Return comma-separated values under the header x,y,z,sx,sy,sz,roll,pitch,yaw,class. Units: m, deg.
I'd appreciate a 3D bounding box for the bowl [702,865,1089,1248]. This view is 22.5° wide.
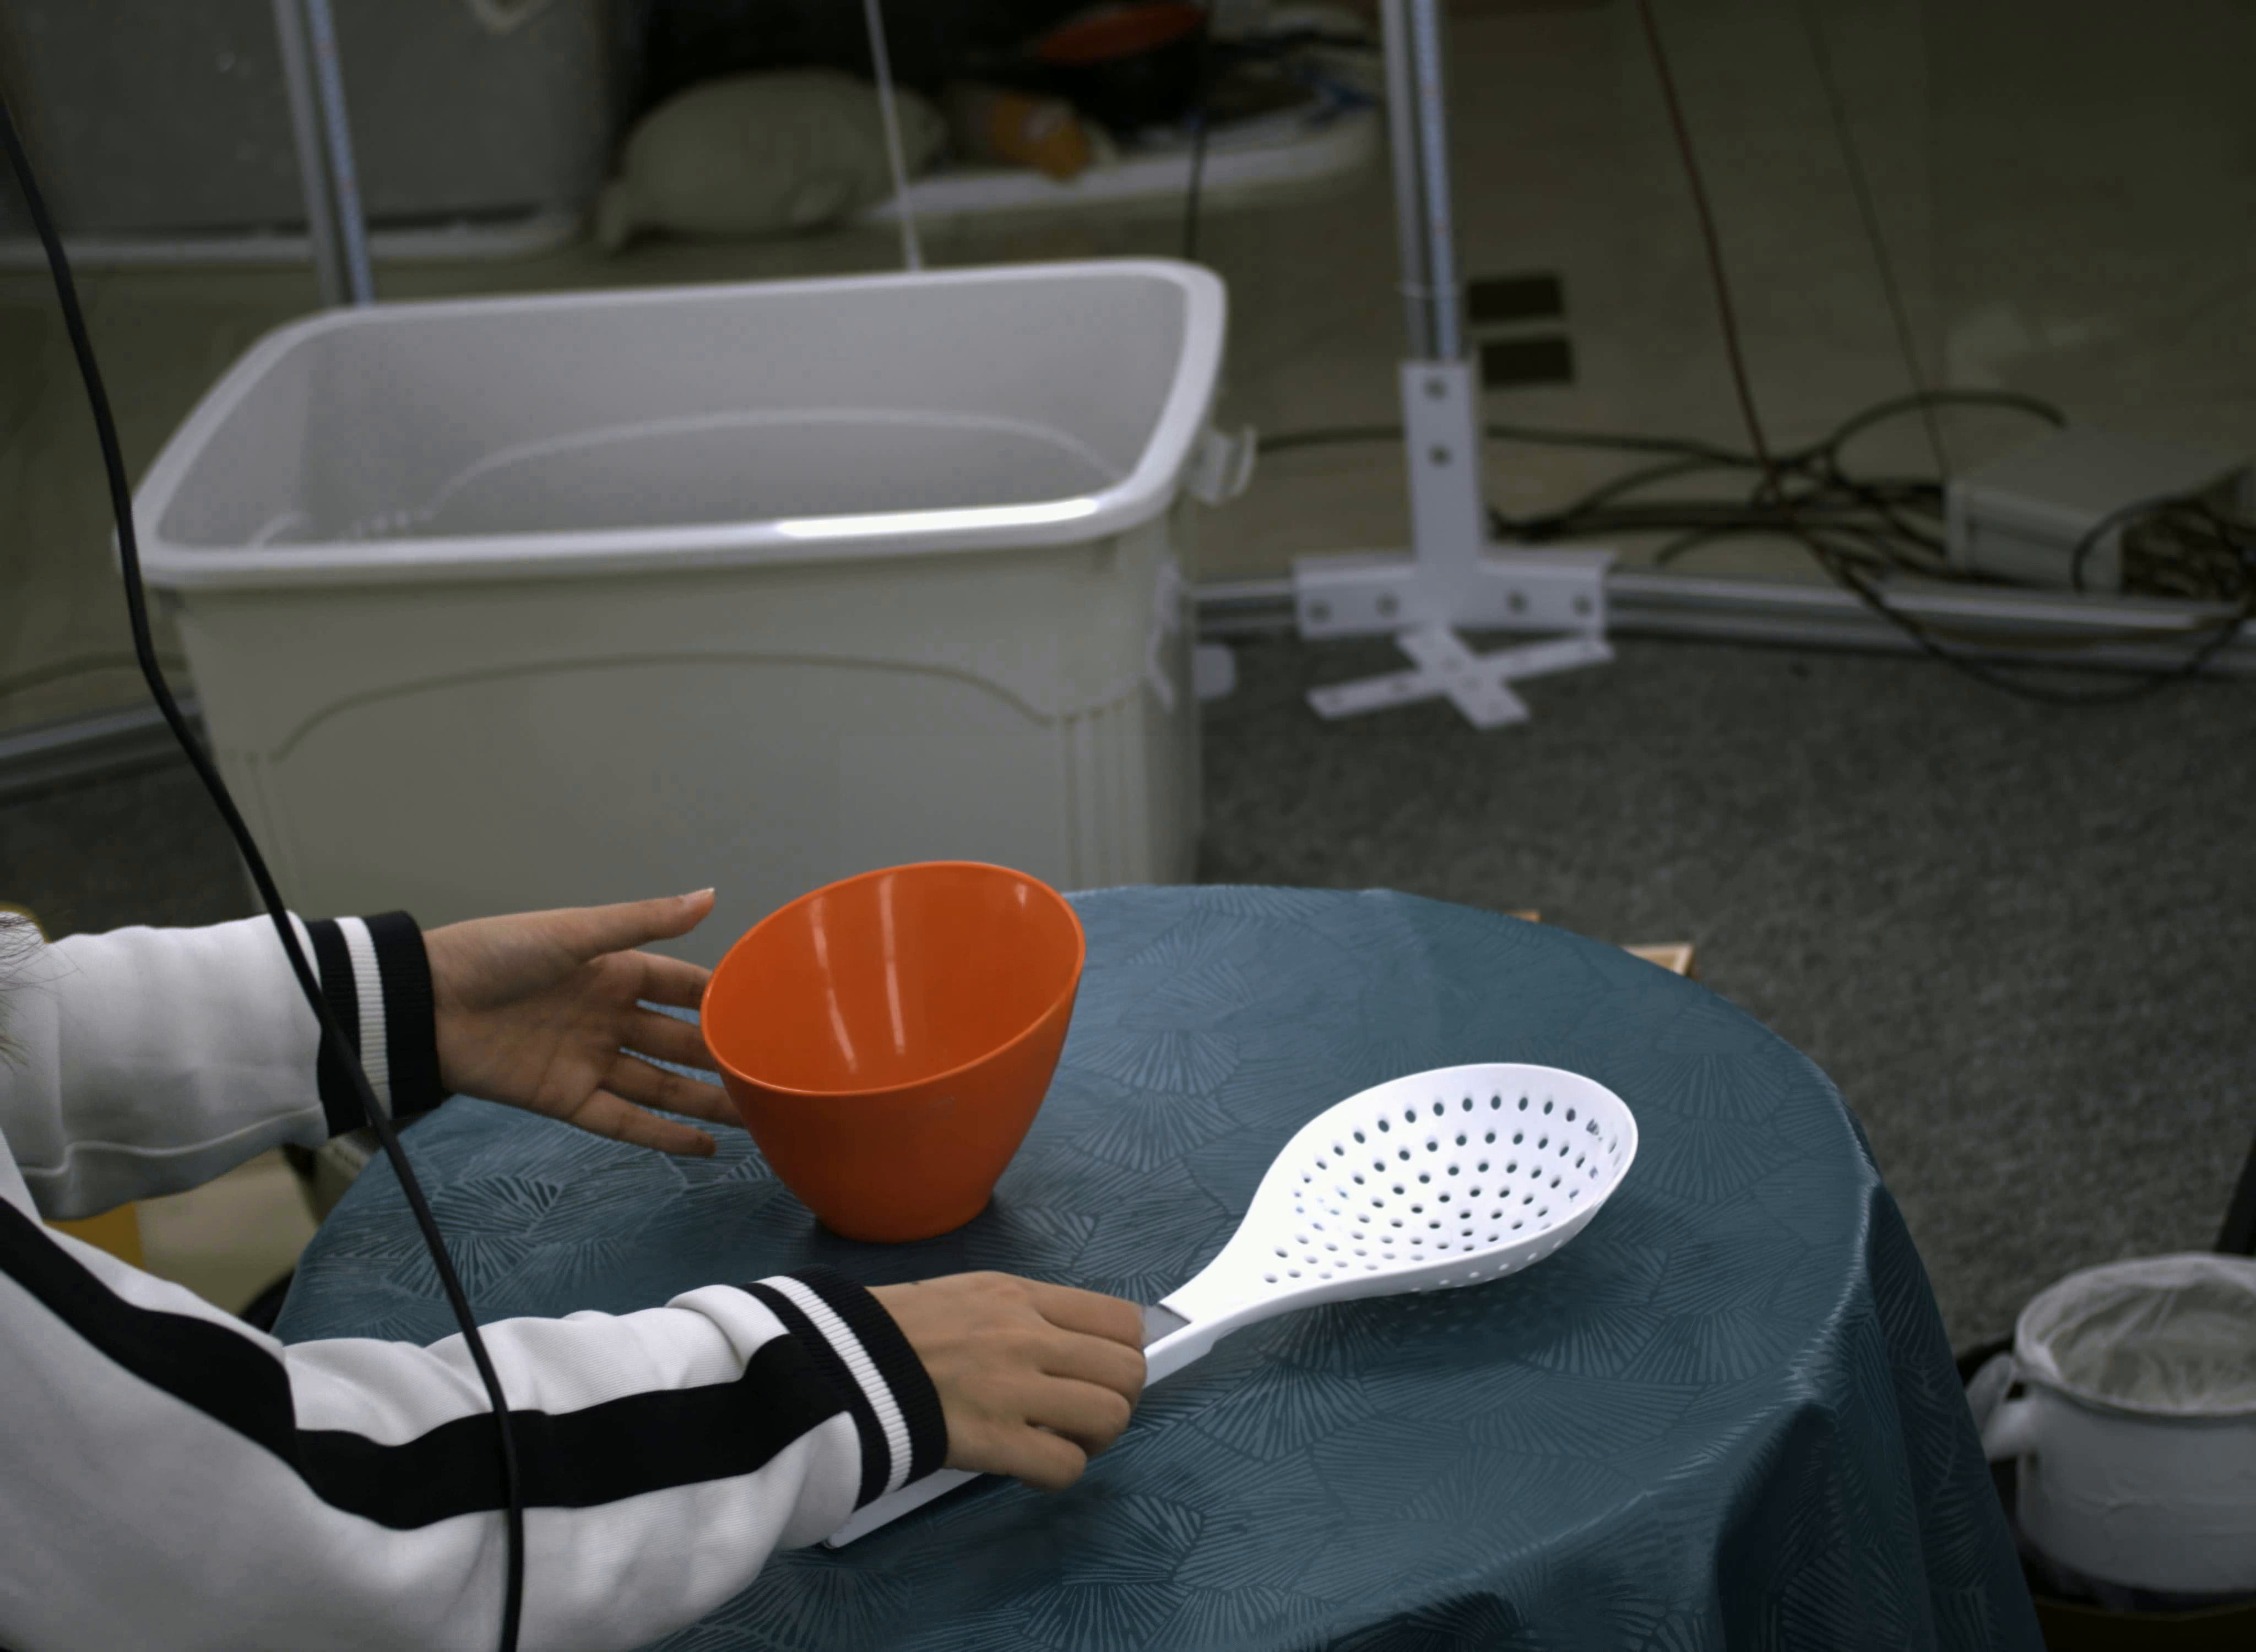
x,y,z,sx,sy,sz,roll,pitch,yaw,class
-0.084,0.094,2.145,0.148,0.106,0.146,-4,27,2,bowl

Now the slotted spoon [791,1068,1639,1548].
x,y,z,sx,sy,sz,roll,pitch,yaw,class
0.032,0.171,2.017,0.347,0.046,0.135,-21,27,-28,slotted spoon
